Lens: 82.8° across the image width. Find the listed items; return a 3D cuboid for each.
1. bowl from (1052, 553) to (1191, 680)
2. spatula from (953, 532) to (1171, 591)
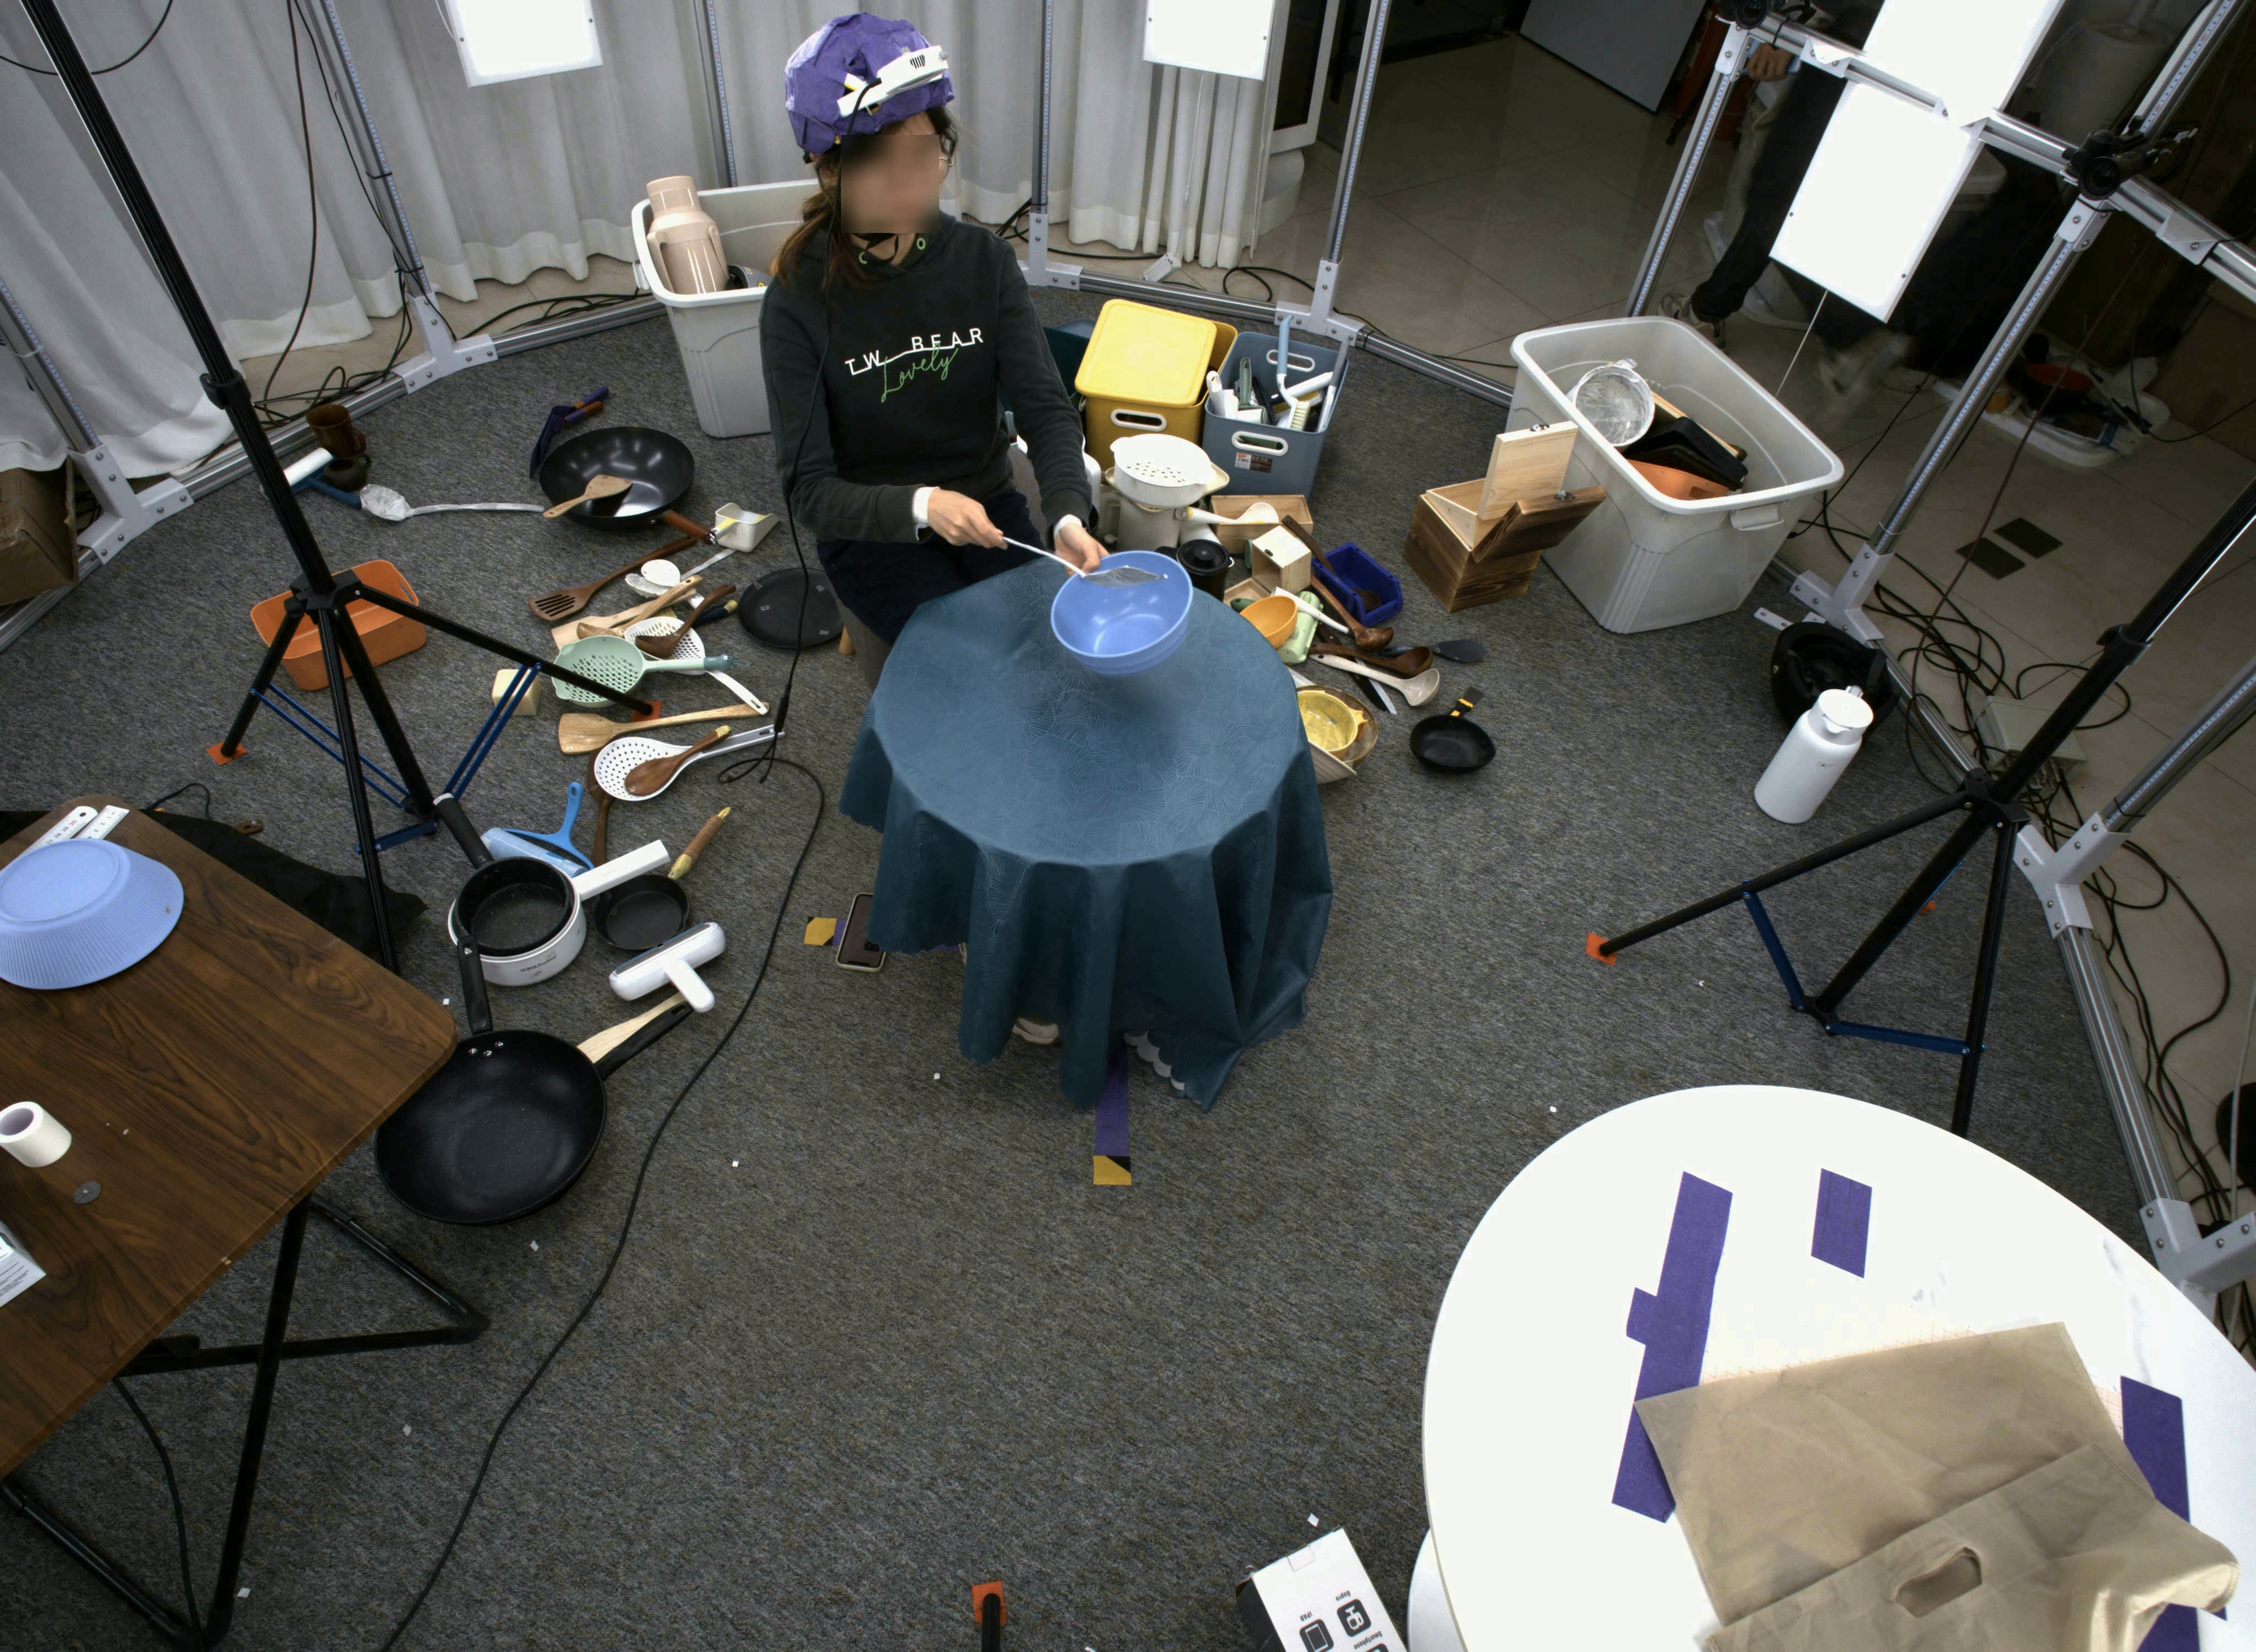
[{"bbox_3d":[0.001,-0.273,1.774,0.196,0.093,0.201,-9,53,12],"label":"bowl"},{"bbox_3d":[-0.108,-0.367,1.738,0.369,0.044,0.098,25,15,32],"label":"spatula"}]
